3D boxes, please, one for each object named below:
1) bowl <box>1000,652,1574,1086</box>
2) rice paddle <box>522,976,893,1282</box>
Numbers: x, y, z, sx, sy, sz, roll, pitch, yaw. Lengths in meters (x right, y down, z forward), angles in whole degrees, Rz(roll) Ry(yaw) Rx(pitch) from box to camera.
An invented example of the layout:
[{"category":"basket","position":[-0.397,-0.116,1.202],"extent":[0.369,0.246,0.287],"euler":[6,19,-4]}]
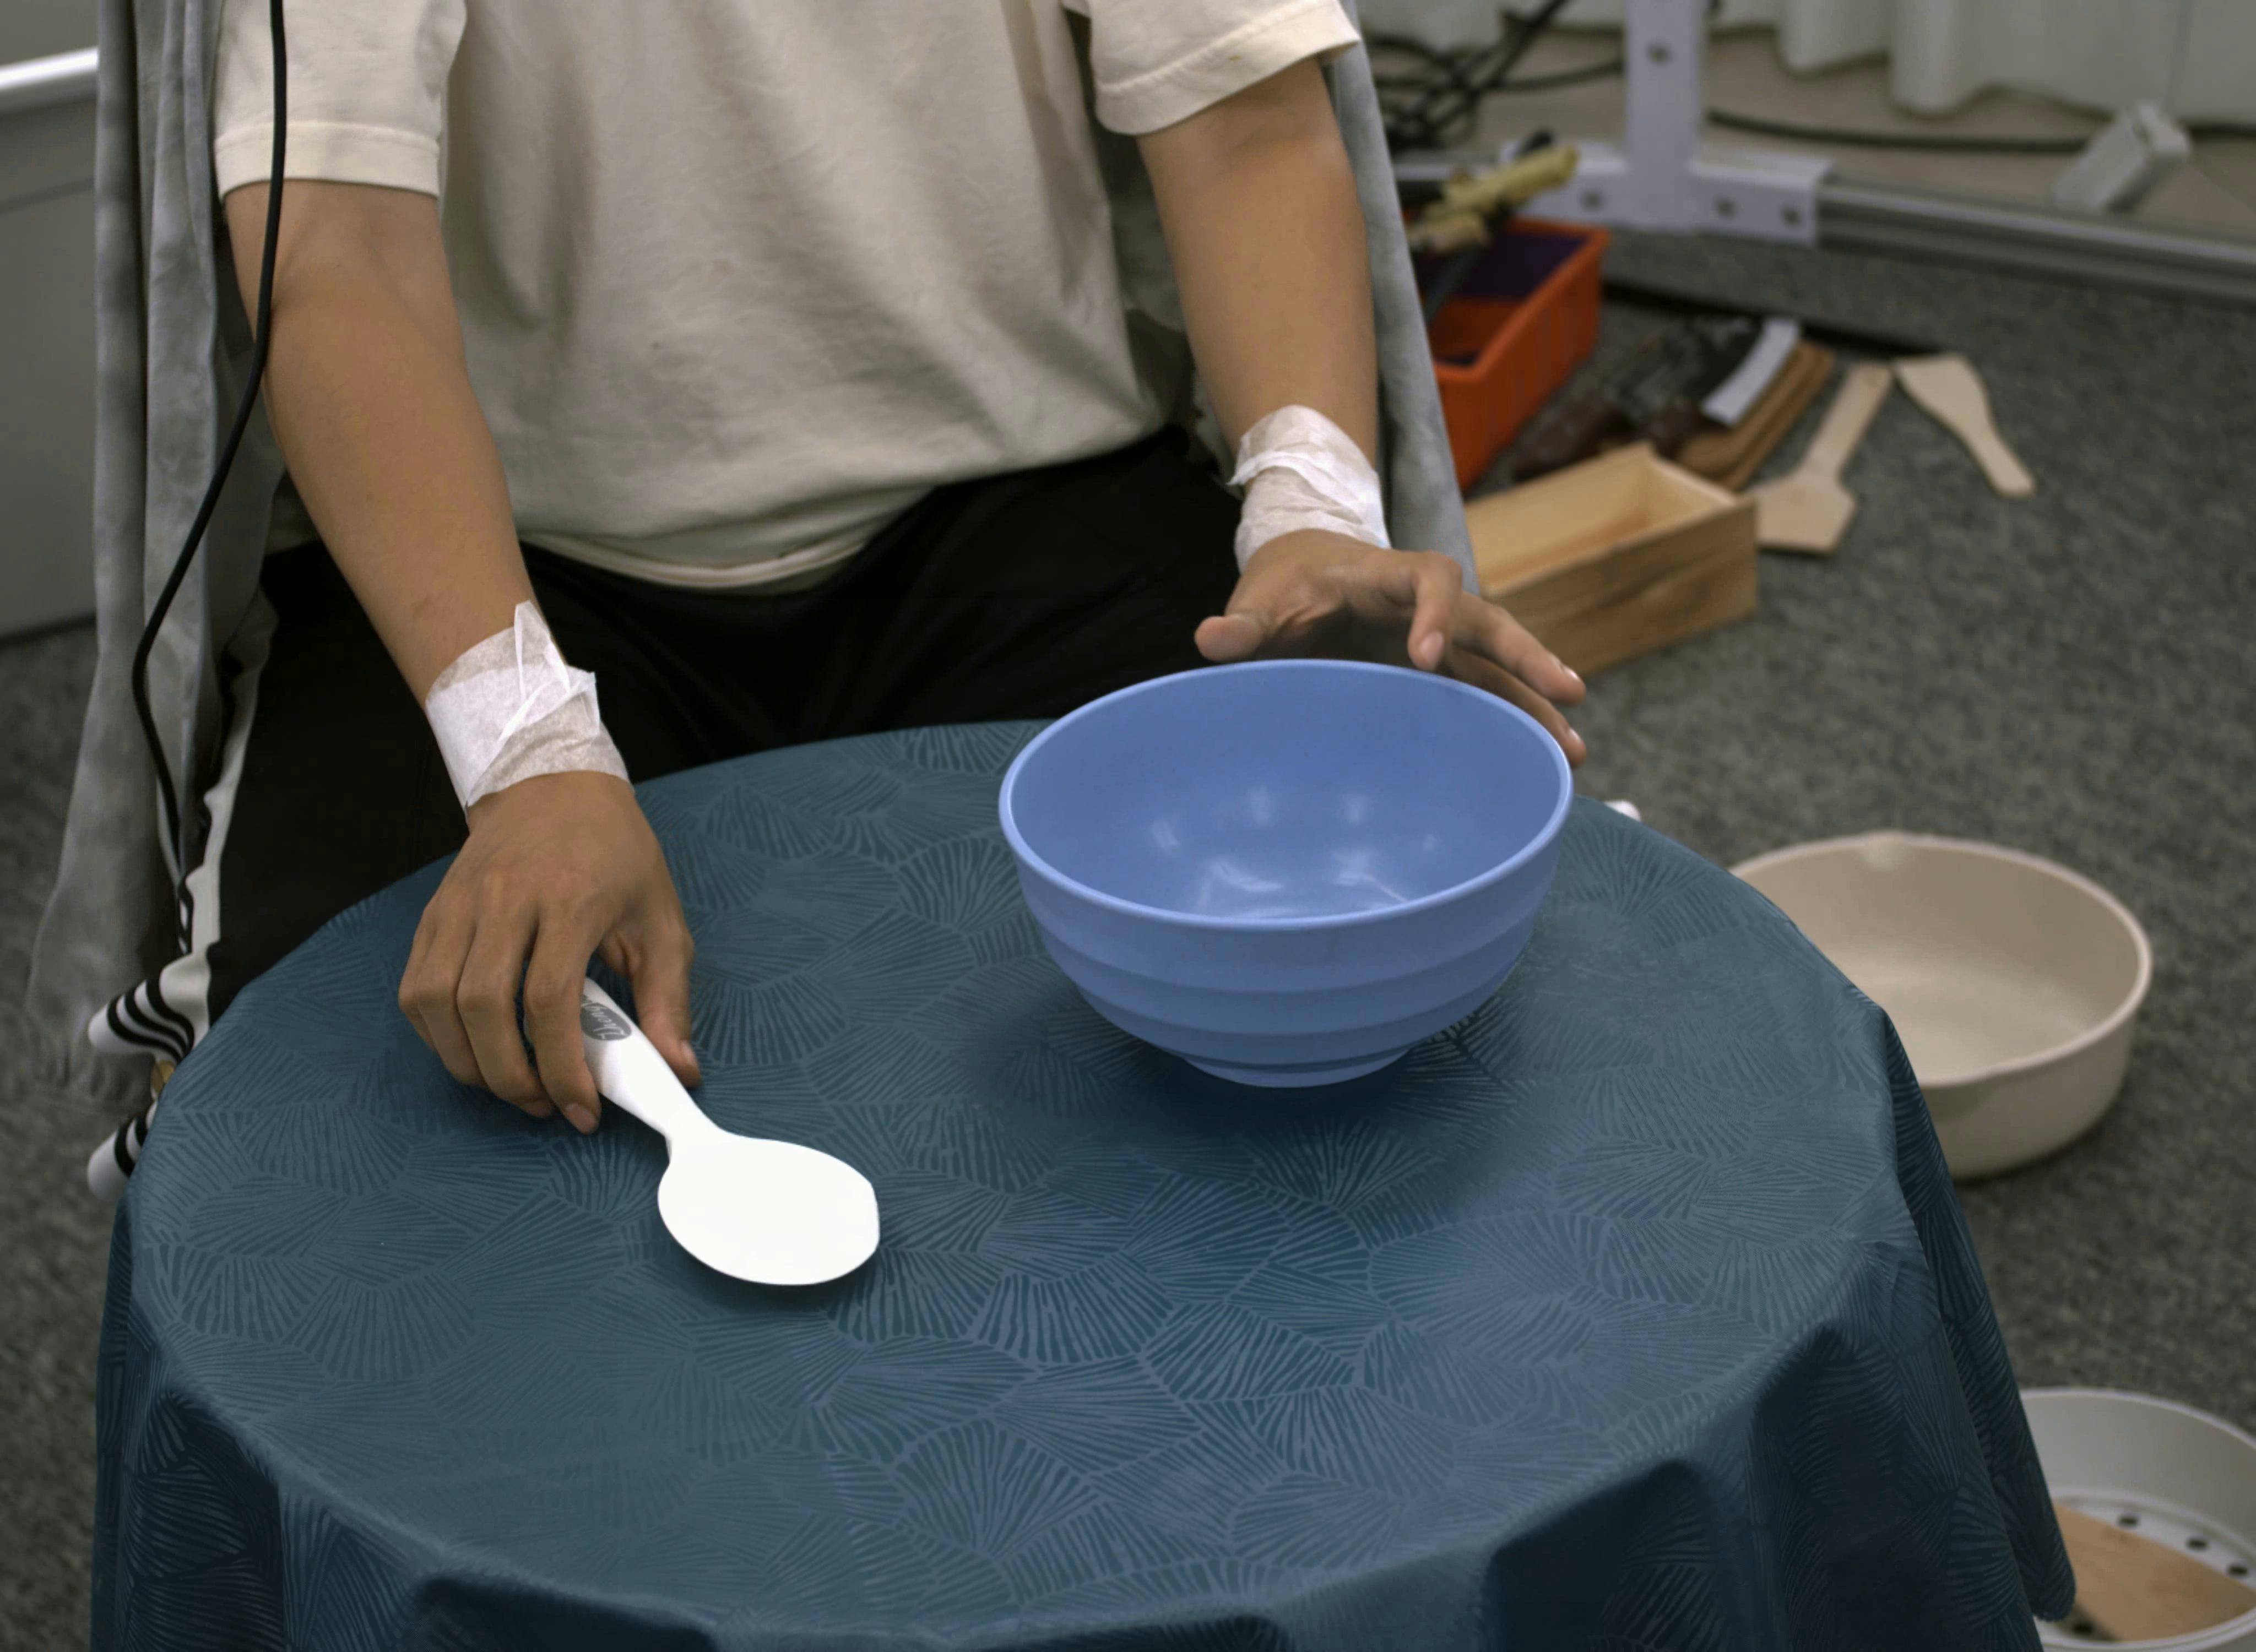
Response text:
[{"category":"bowl","position":[0.056,0.026,1.936],"extent":[0.195,0.094,0.199],"euler":[-2,28,2]},{"category":"rice paddle","position":[-0.144,0.103,1.878],"extent":[0.069,0.029,0.206],"euler":[-19,31,-26]}]
